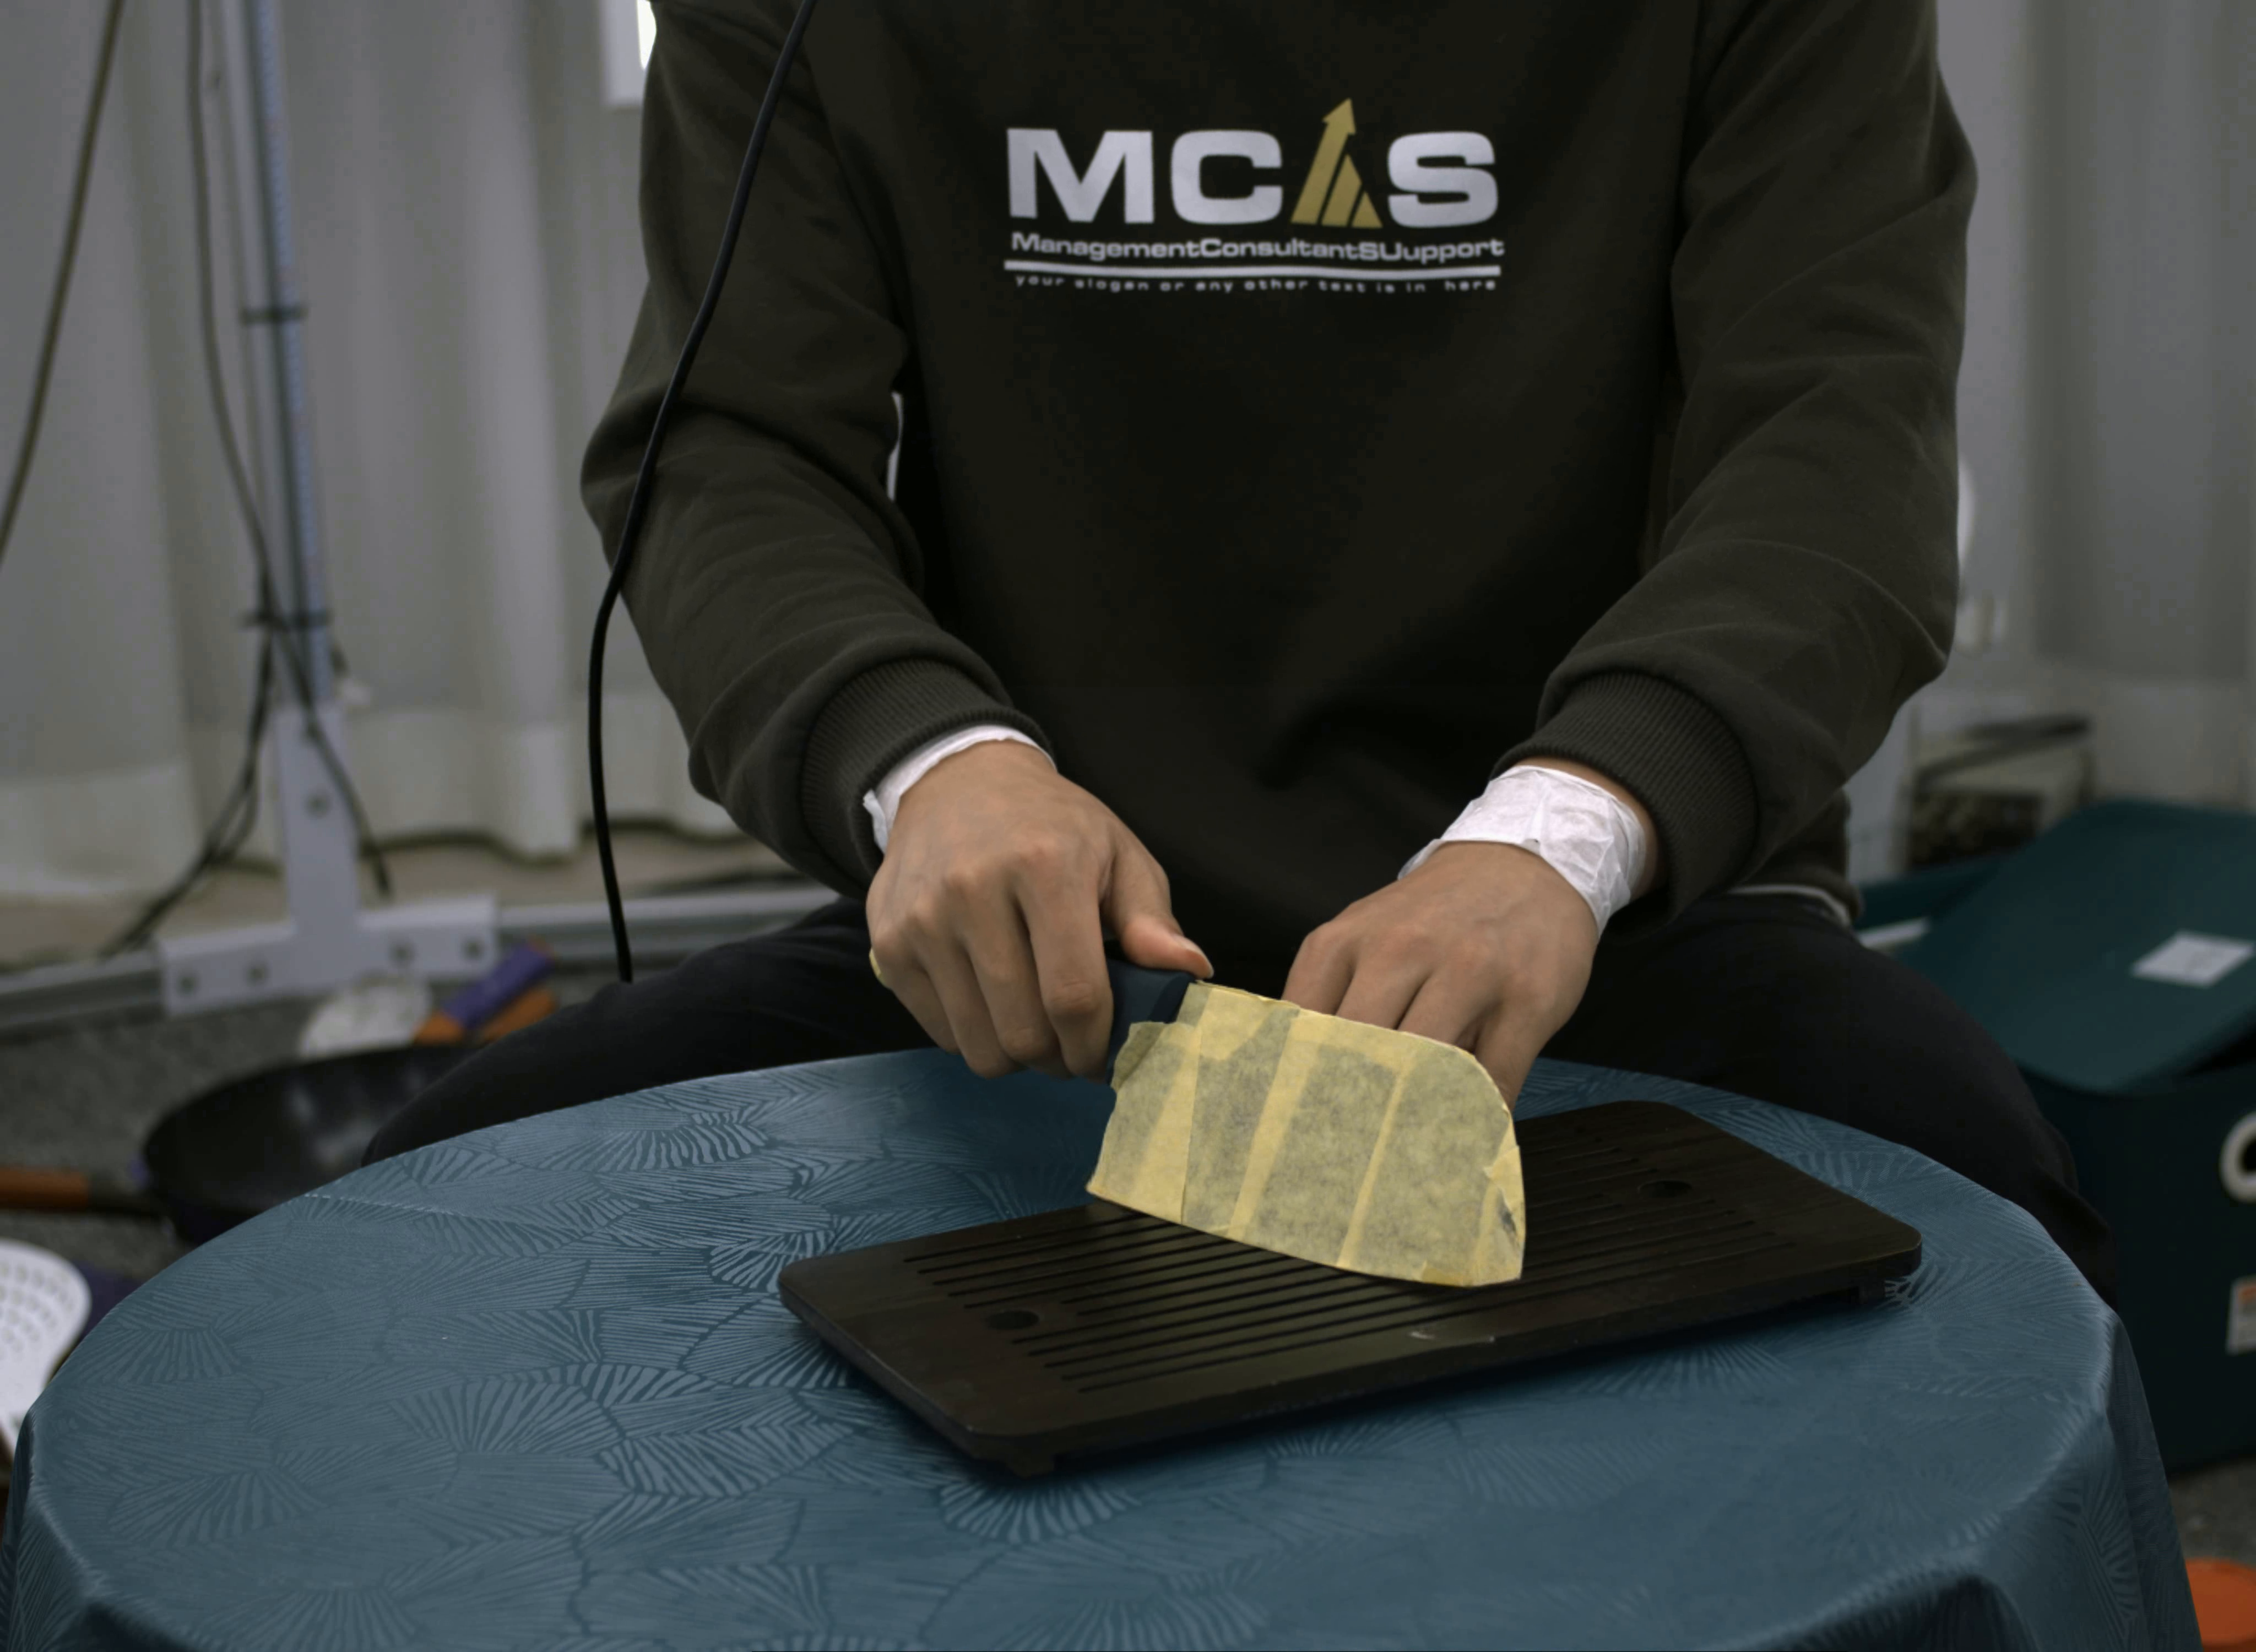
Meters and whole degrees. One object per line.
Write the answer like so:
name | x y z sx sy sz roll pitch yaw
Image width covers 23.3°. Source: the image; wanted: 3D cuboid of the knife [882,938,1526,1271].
knife | 0.017 0.081 1.652 0.027 0.081 0.291 29 -9 -42

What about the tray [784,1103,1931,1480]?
tray | 0.066 0.134 1.598 0.304 0.018 0.171 -9 15 -23
